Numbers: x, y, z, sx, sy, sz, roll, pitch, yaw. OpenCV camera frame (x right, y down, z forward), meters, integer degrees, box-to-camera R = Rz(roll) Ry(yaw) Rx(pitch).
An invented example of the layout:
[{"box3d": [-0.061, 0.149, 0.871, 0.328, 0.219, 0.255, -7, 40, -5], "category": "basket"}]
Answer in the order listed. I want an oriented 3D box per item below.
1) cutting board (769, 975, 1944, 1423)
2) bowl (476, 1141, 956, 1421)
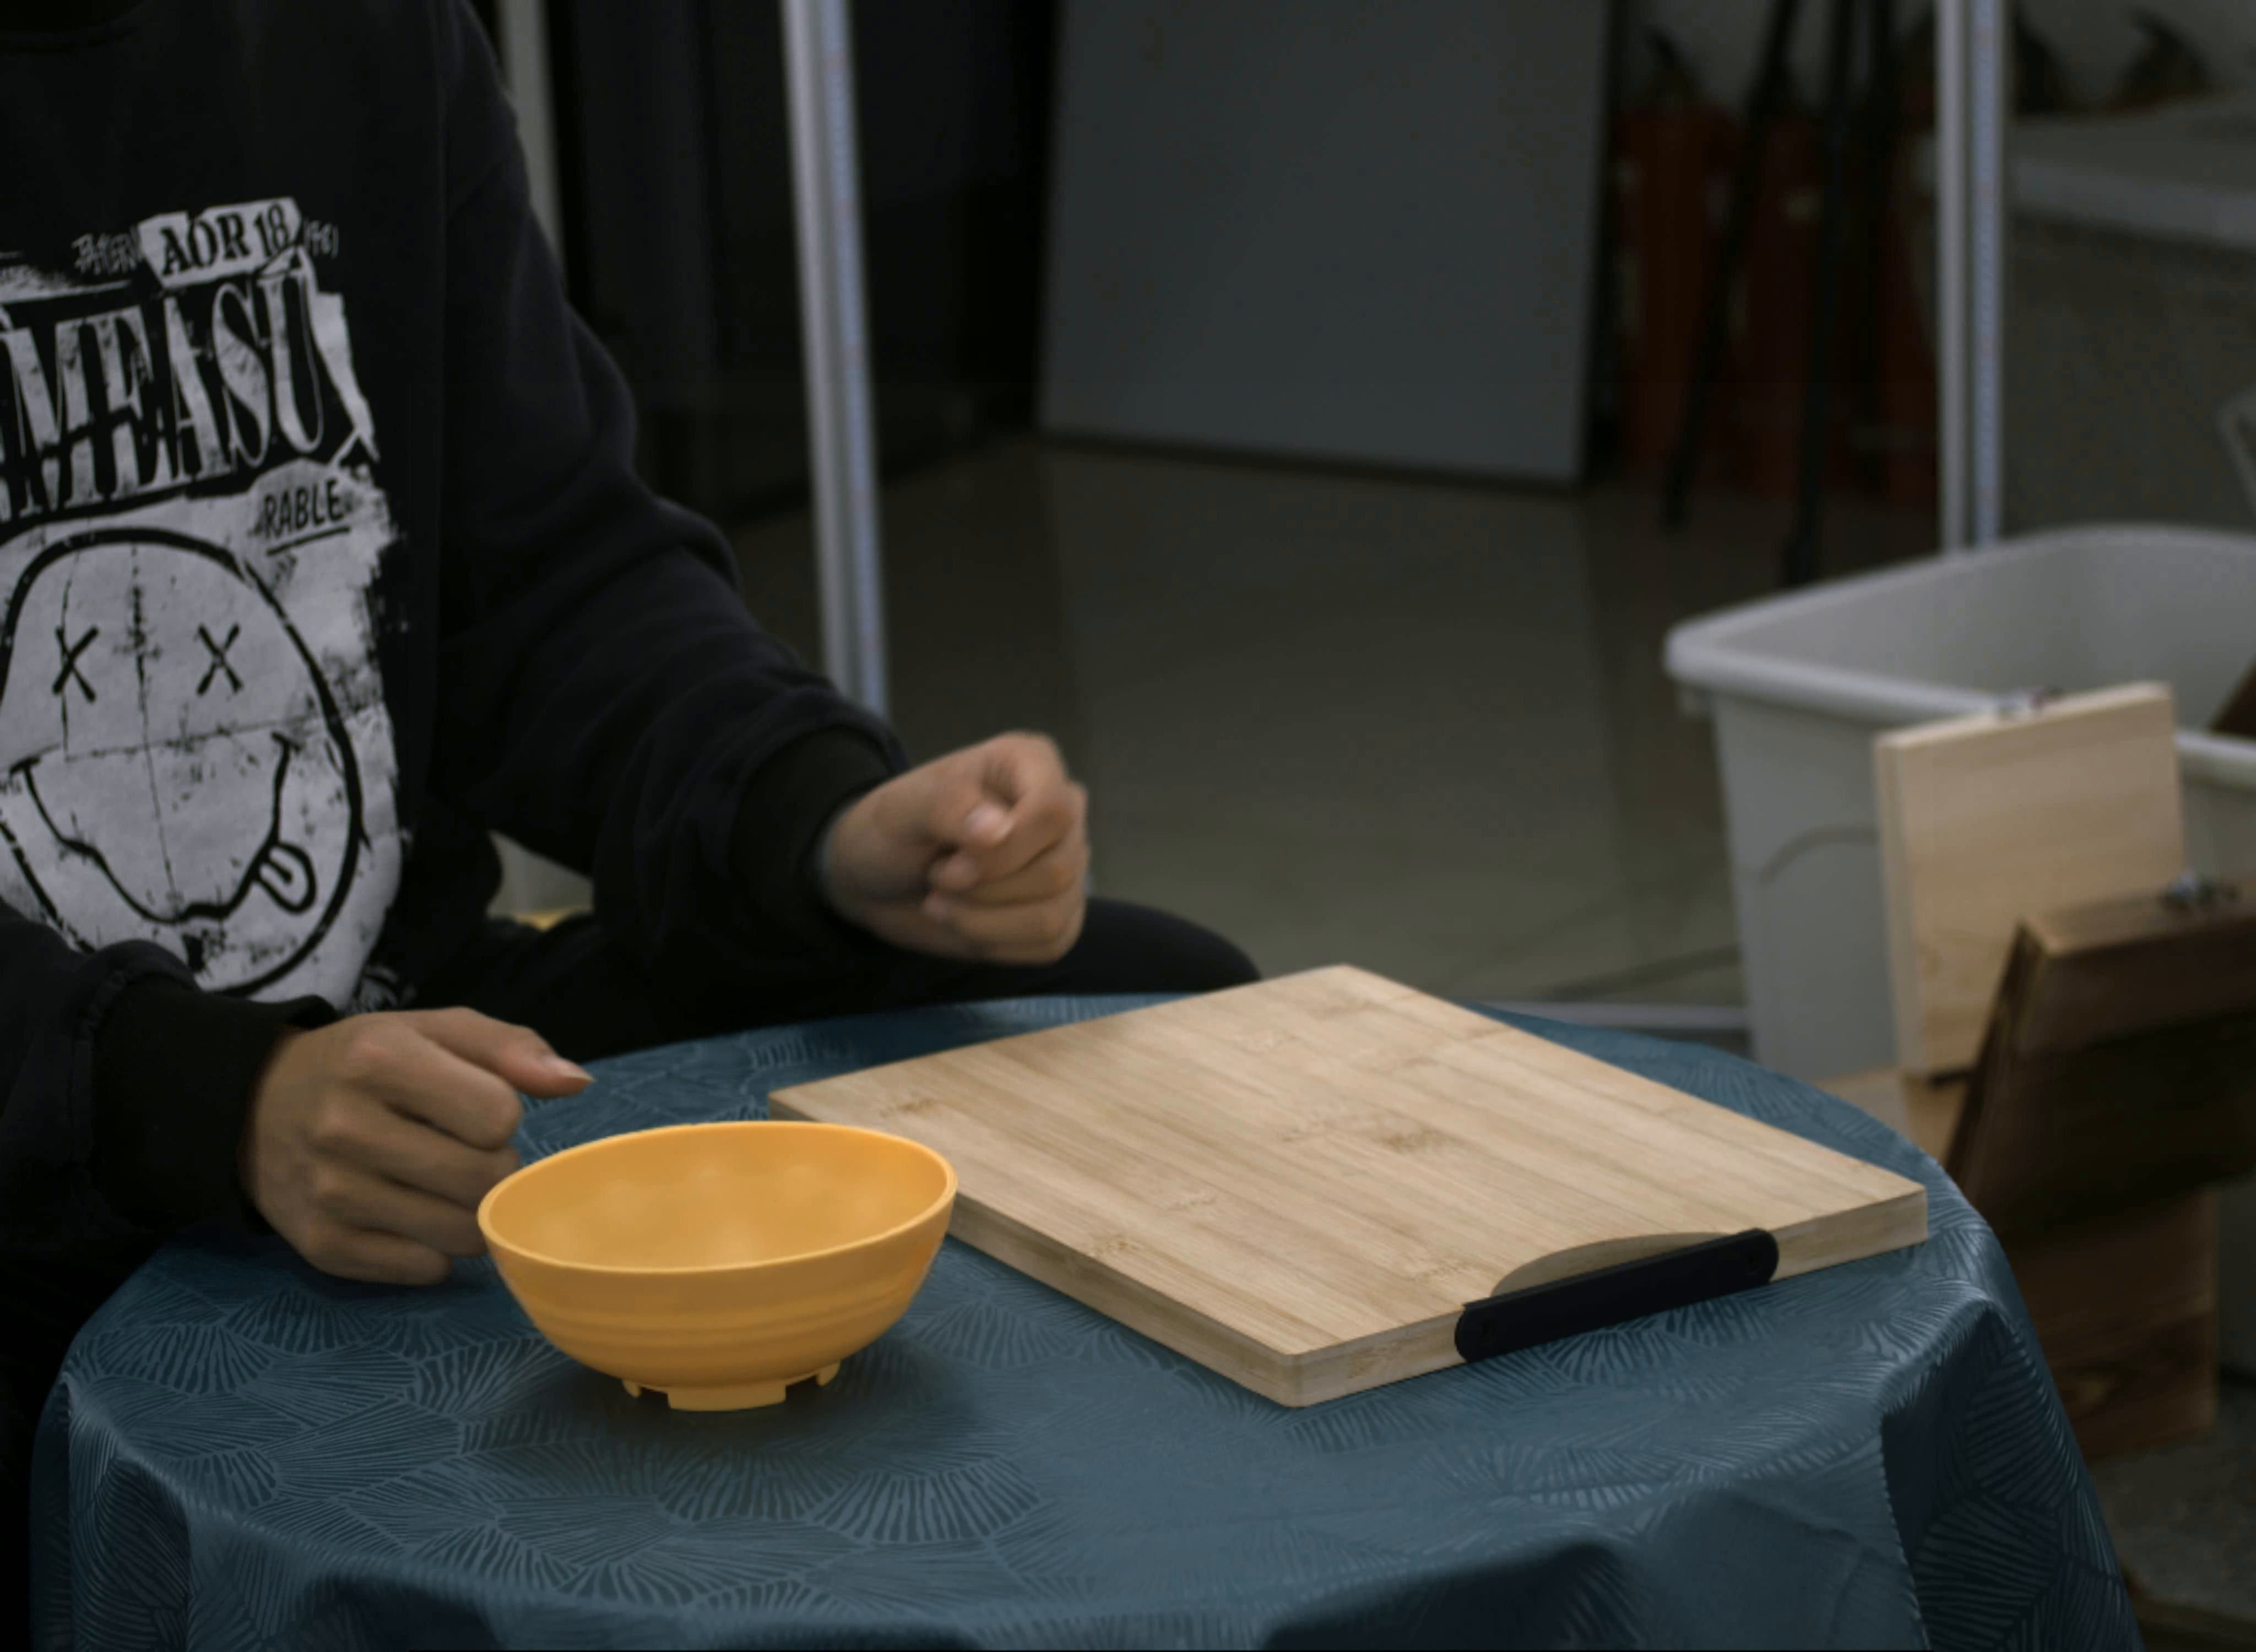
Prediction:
[{"box3d": [0.065, 0.113, 1.752, 0.245, 0.024, 0.352, -12, 16, -29], "category": "cutting board"}, {"box3d": [-0.122, 0.140, 1.616, 0.143, 0.061, 0.145, -2, 11, 0], "category": "bowl"}]
